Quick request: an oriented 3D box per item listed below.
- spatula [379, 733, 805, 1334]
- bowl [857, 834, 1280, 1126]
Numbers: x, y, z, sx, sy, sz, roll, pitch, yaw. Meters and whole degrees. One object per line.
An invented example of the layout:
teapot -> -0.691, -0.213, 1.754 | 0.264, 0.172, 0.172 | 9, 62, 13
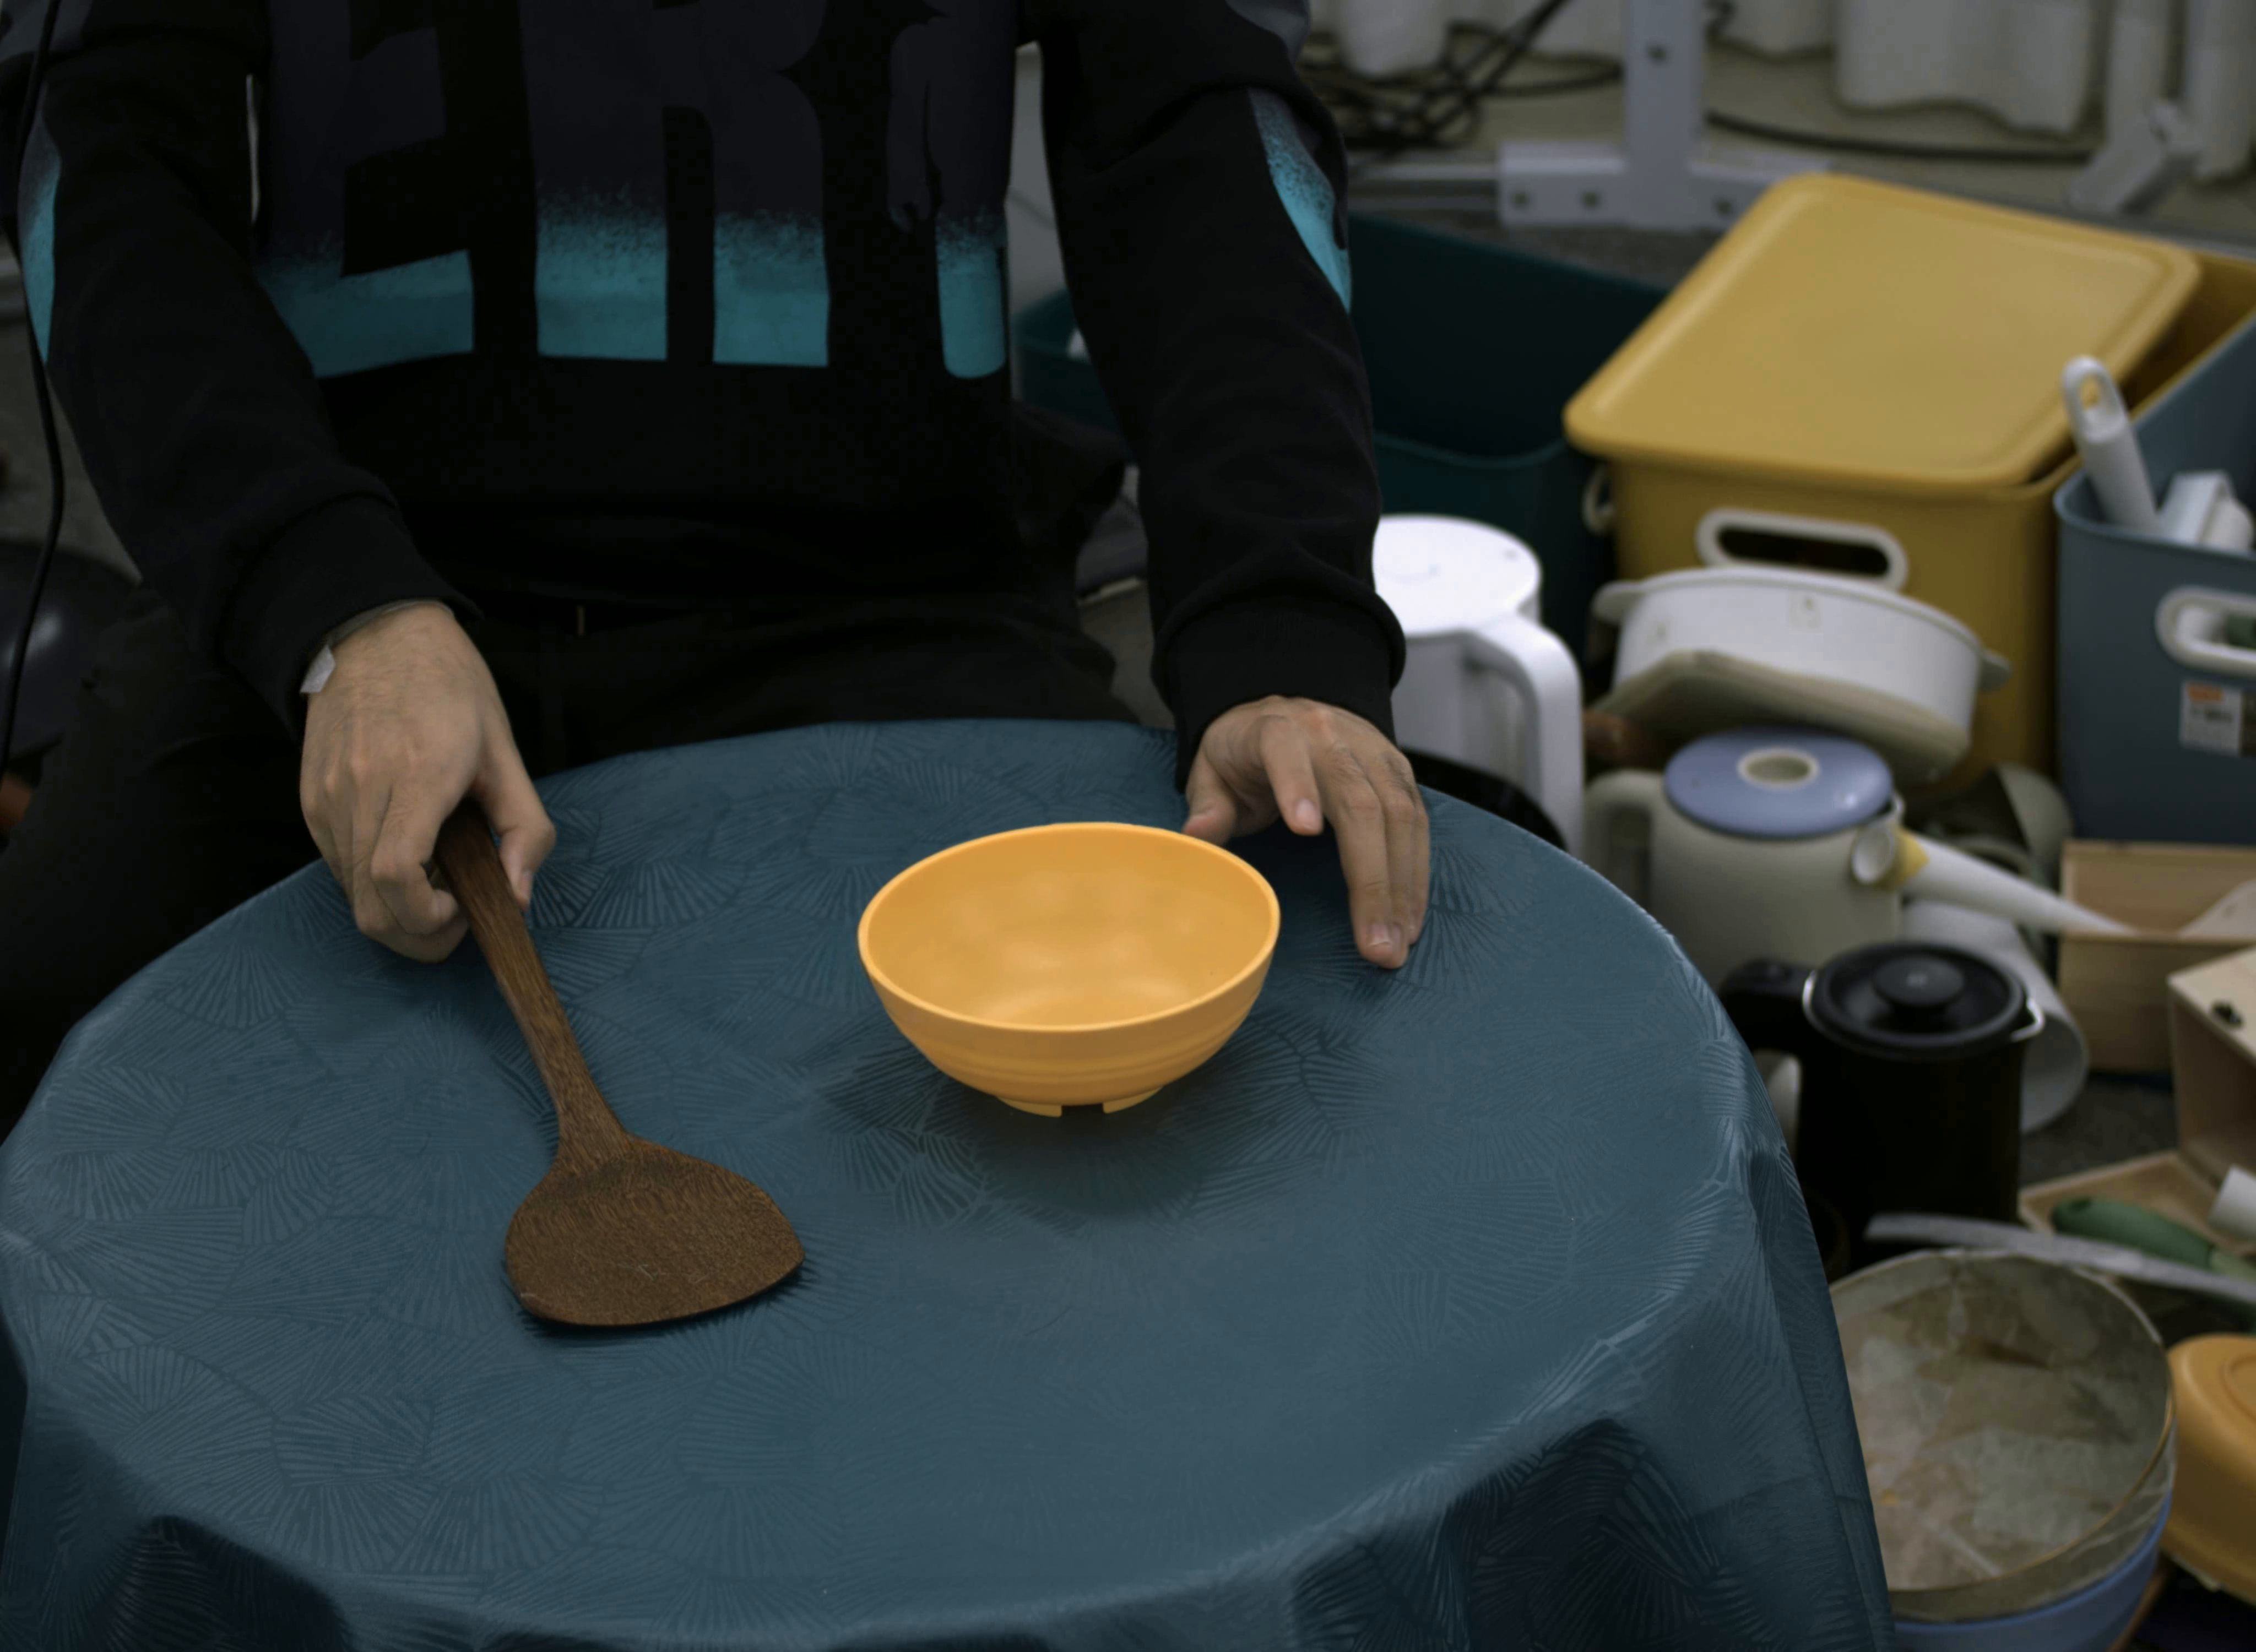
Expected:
spatula -> -0.206, 0.063, 1.954 | 0.096, 0.015, 0.390 | -11, 34, -16
bowl -> -0.020, 0.061, 1.922 | 0.144, 0.059, 0.147 | 0, 26, 0
